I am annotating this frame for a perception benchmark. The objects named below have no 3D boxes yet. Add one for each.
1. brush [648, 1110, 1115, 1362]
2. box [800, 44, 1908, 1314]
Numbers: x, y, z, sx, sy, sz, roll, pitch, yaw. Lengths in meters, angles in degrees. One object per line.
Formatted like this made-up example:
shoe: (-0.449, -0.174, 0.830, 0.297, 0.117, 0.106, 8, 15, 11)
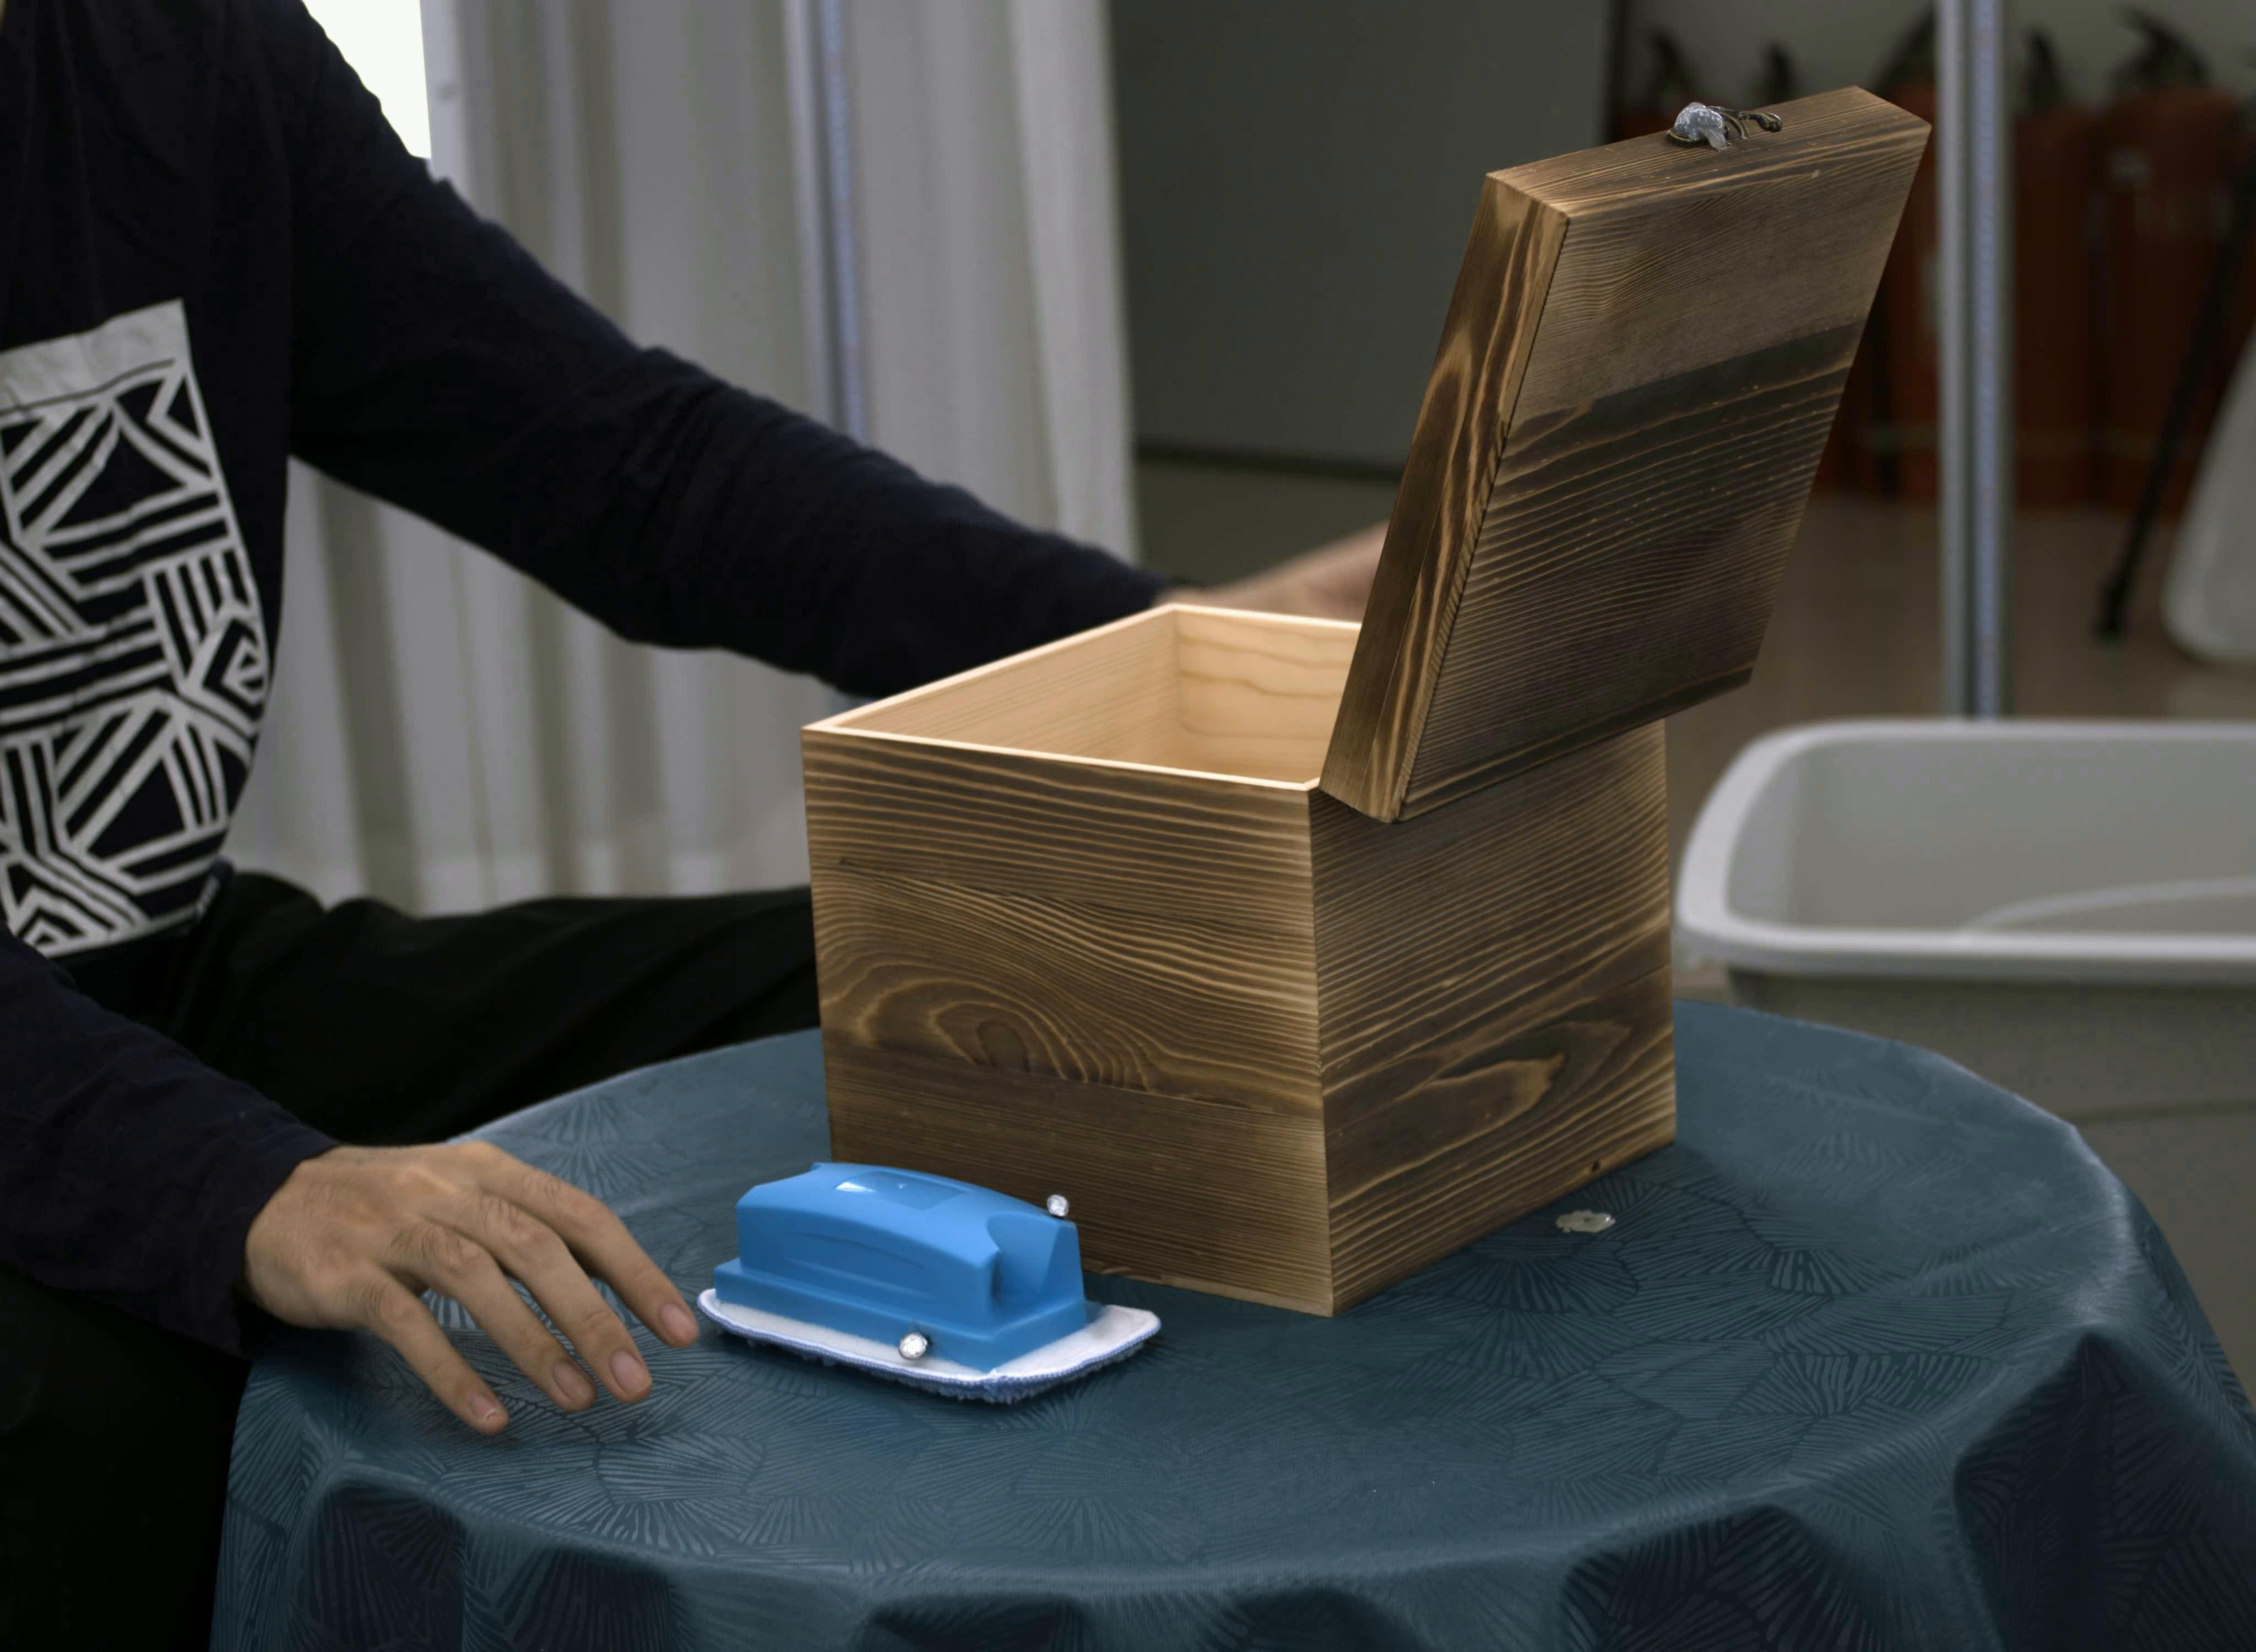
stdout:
brush: (-0.074, 0.122, 1.632, 0.145, 0.056, 0.082, 15, 20, 42)
box: (0.074, -0.054, 1.703, 0.324, 0.379, 0.205, 7, 16, 38)
